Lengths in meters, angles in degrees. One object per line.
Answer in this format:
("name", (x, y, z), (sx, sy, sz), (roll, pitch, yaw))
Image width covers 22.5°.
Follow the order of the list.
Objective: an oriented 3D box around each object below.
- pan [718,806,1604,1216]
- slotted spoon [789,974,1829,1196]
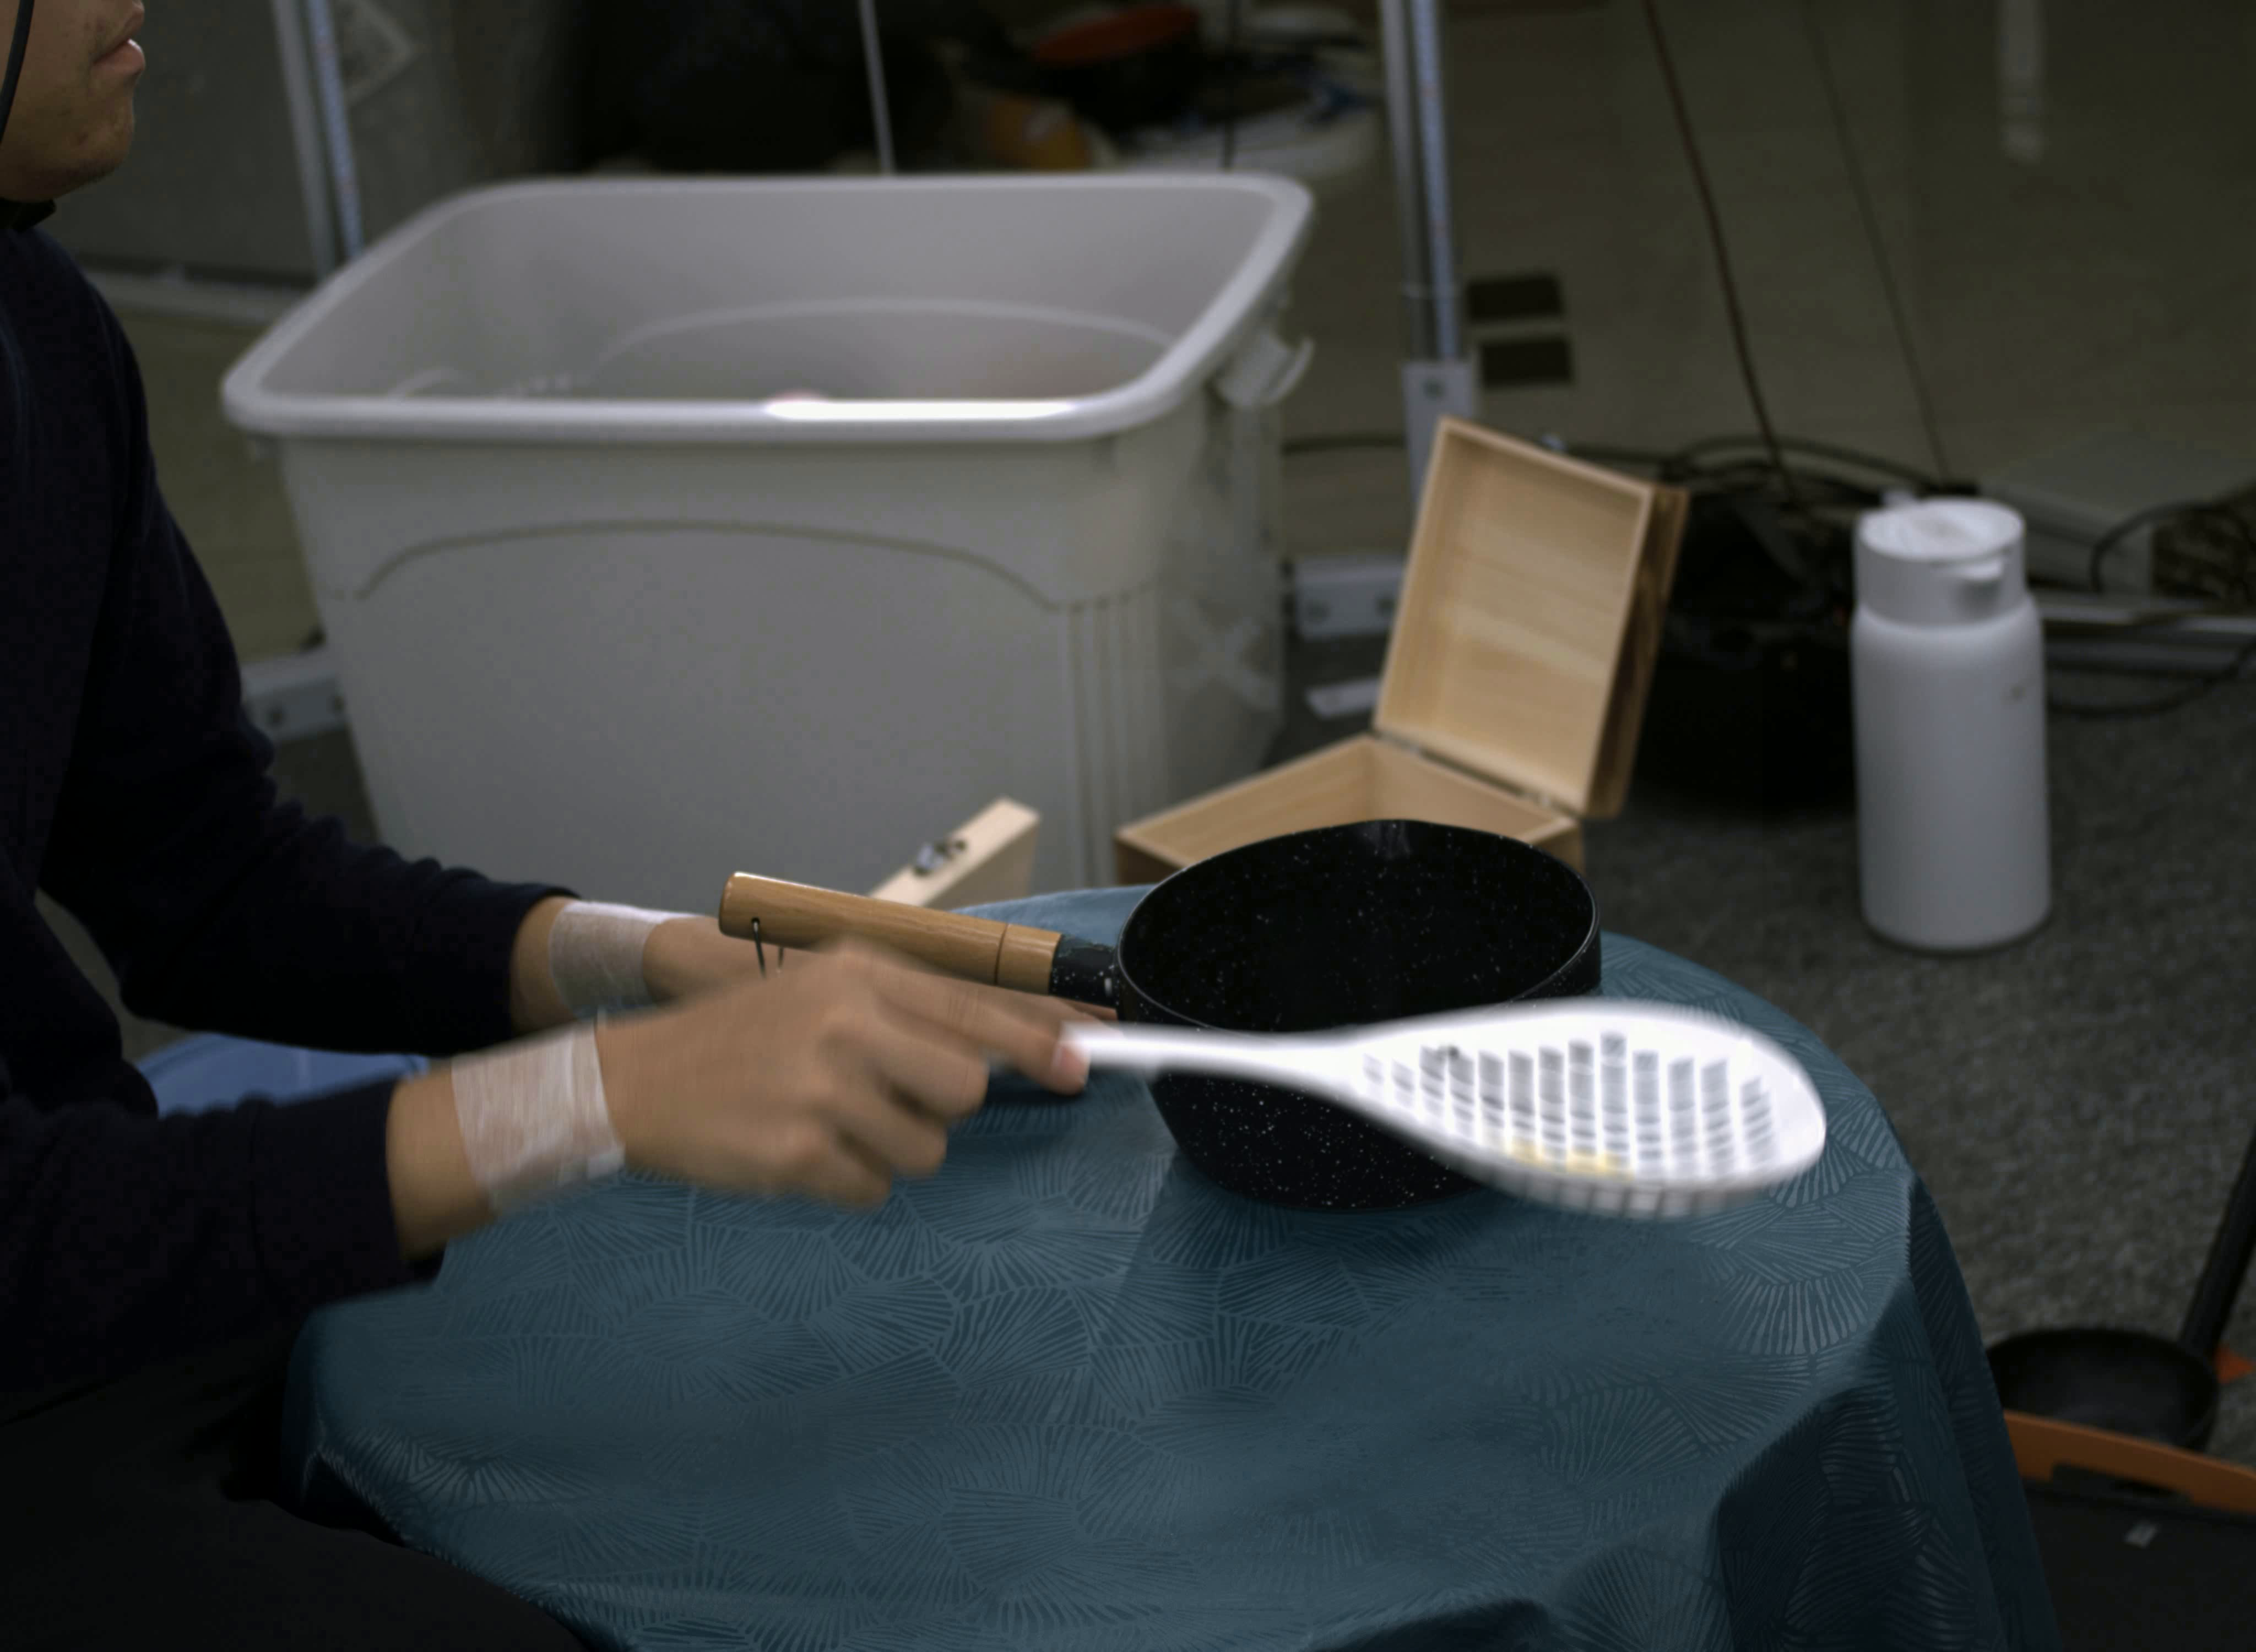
("pan", (0.012, 0.067, 2.169), (0.342, 0.110, 0.204), (0, 27, 10))
("slotted spoon", (0.061, 0.083, 1.907), (0.347, 0.051, 0.135), (8, 24, -7))
